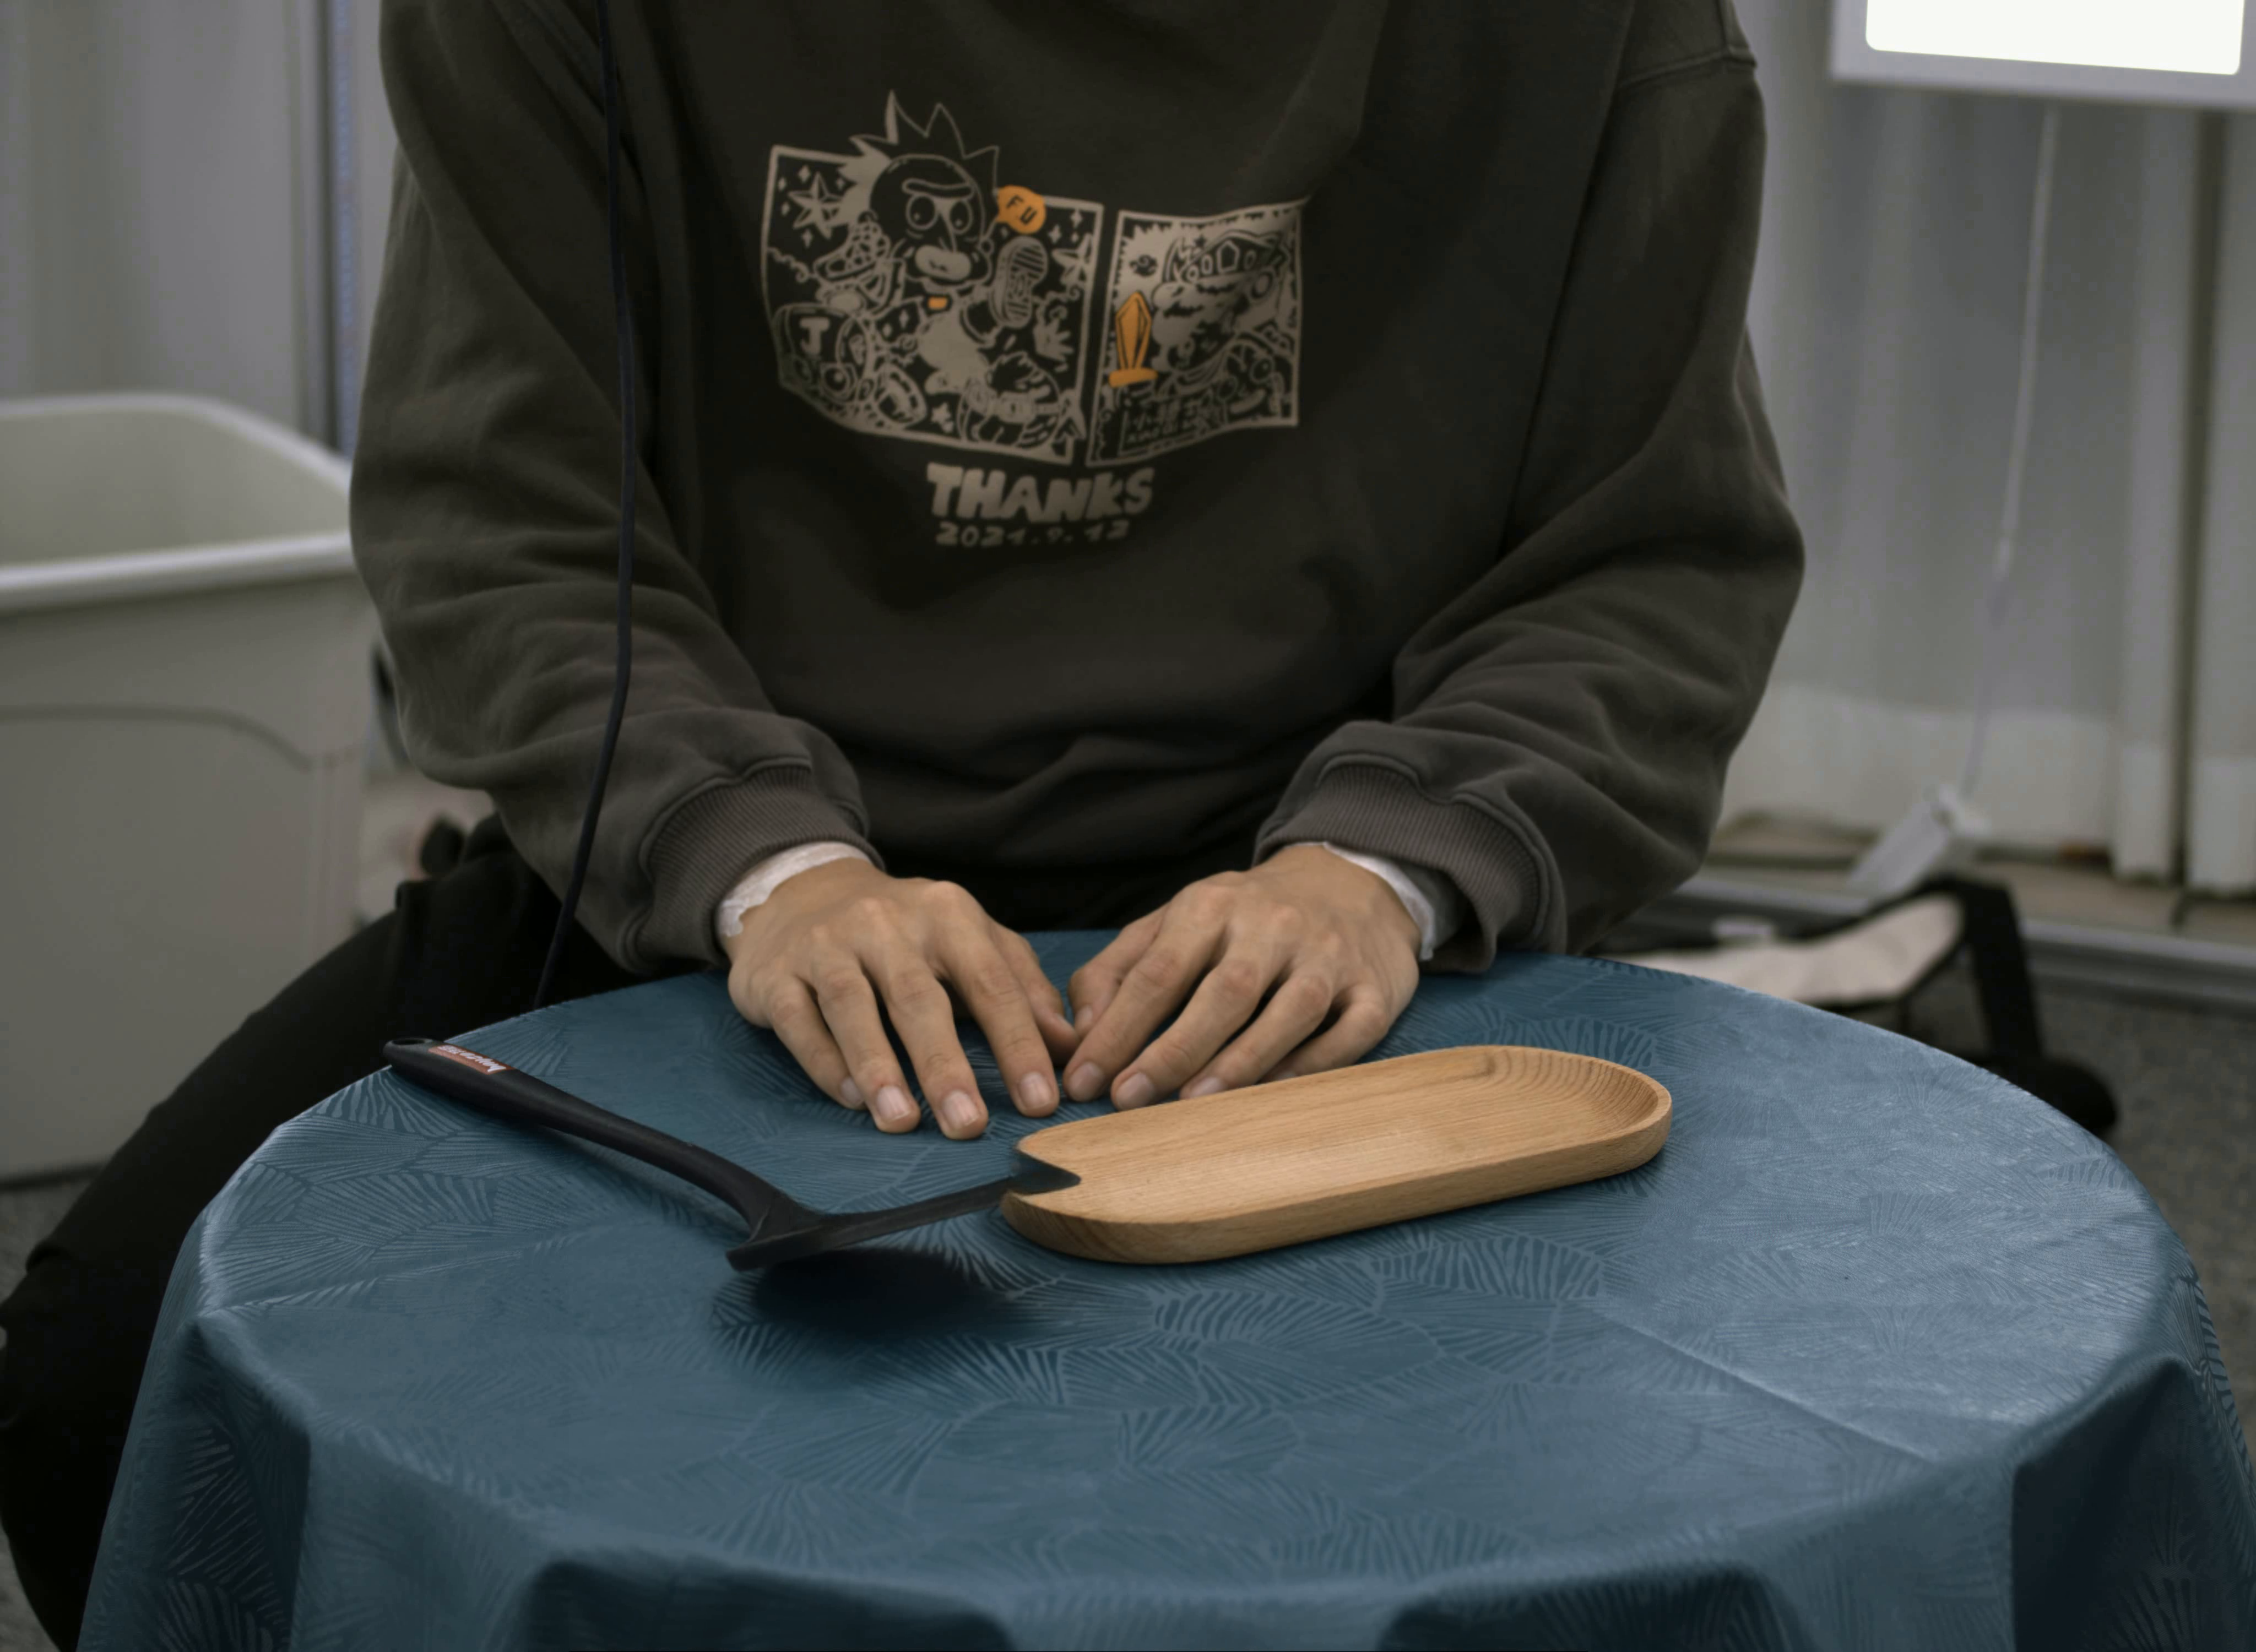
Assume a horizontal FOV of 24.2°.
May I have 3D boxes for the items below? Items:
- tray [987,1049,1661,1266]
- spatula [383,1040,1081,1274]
[{"bbox_3d":[0.063,0.103,1.639,0.232,0.020,0.100,-10,18,-31],"label":"tray"},{"bbox_3d":[-0.145,0.094,1.623,0.100,0.040,0.322,-10,19,-37],"label":"spatula"}]
